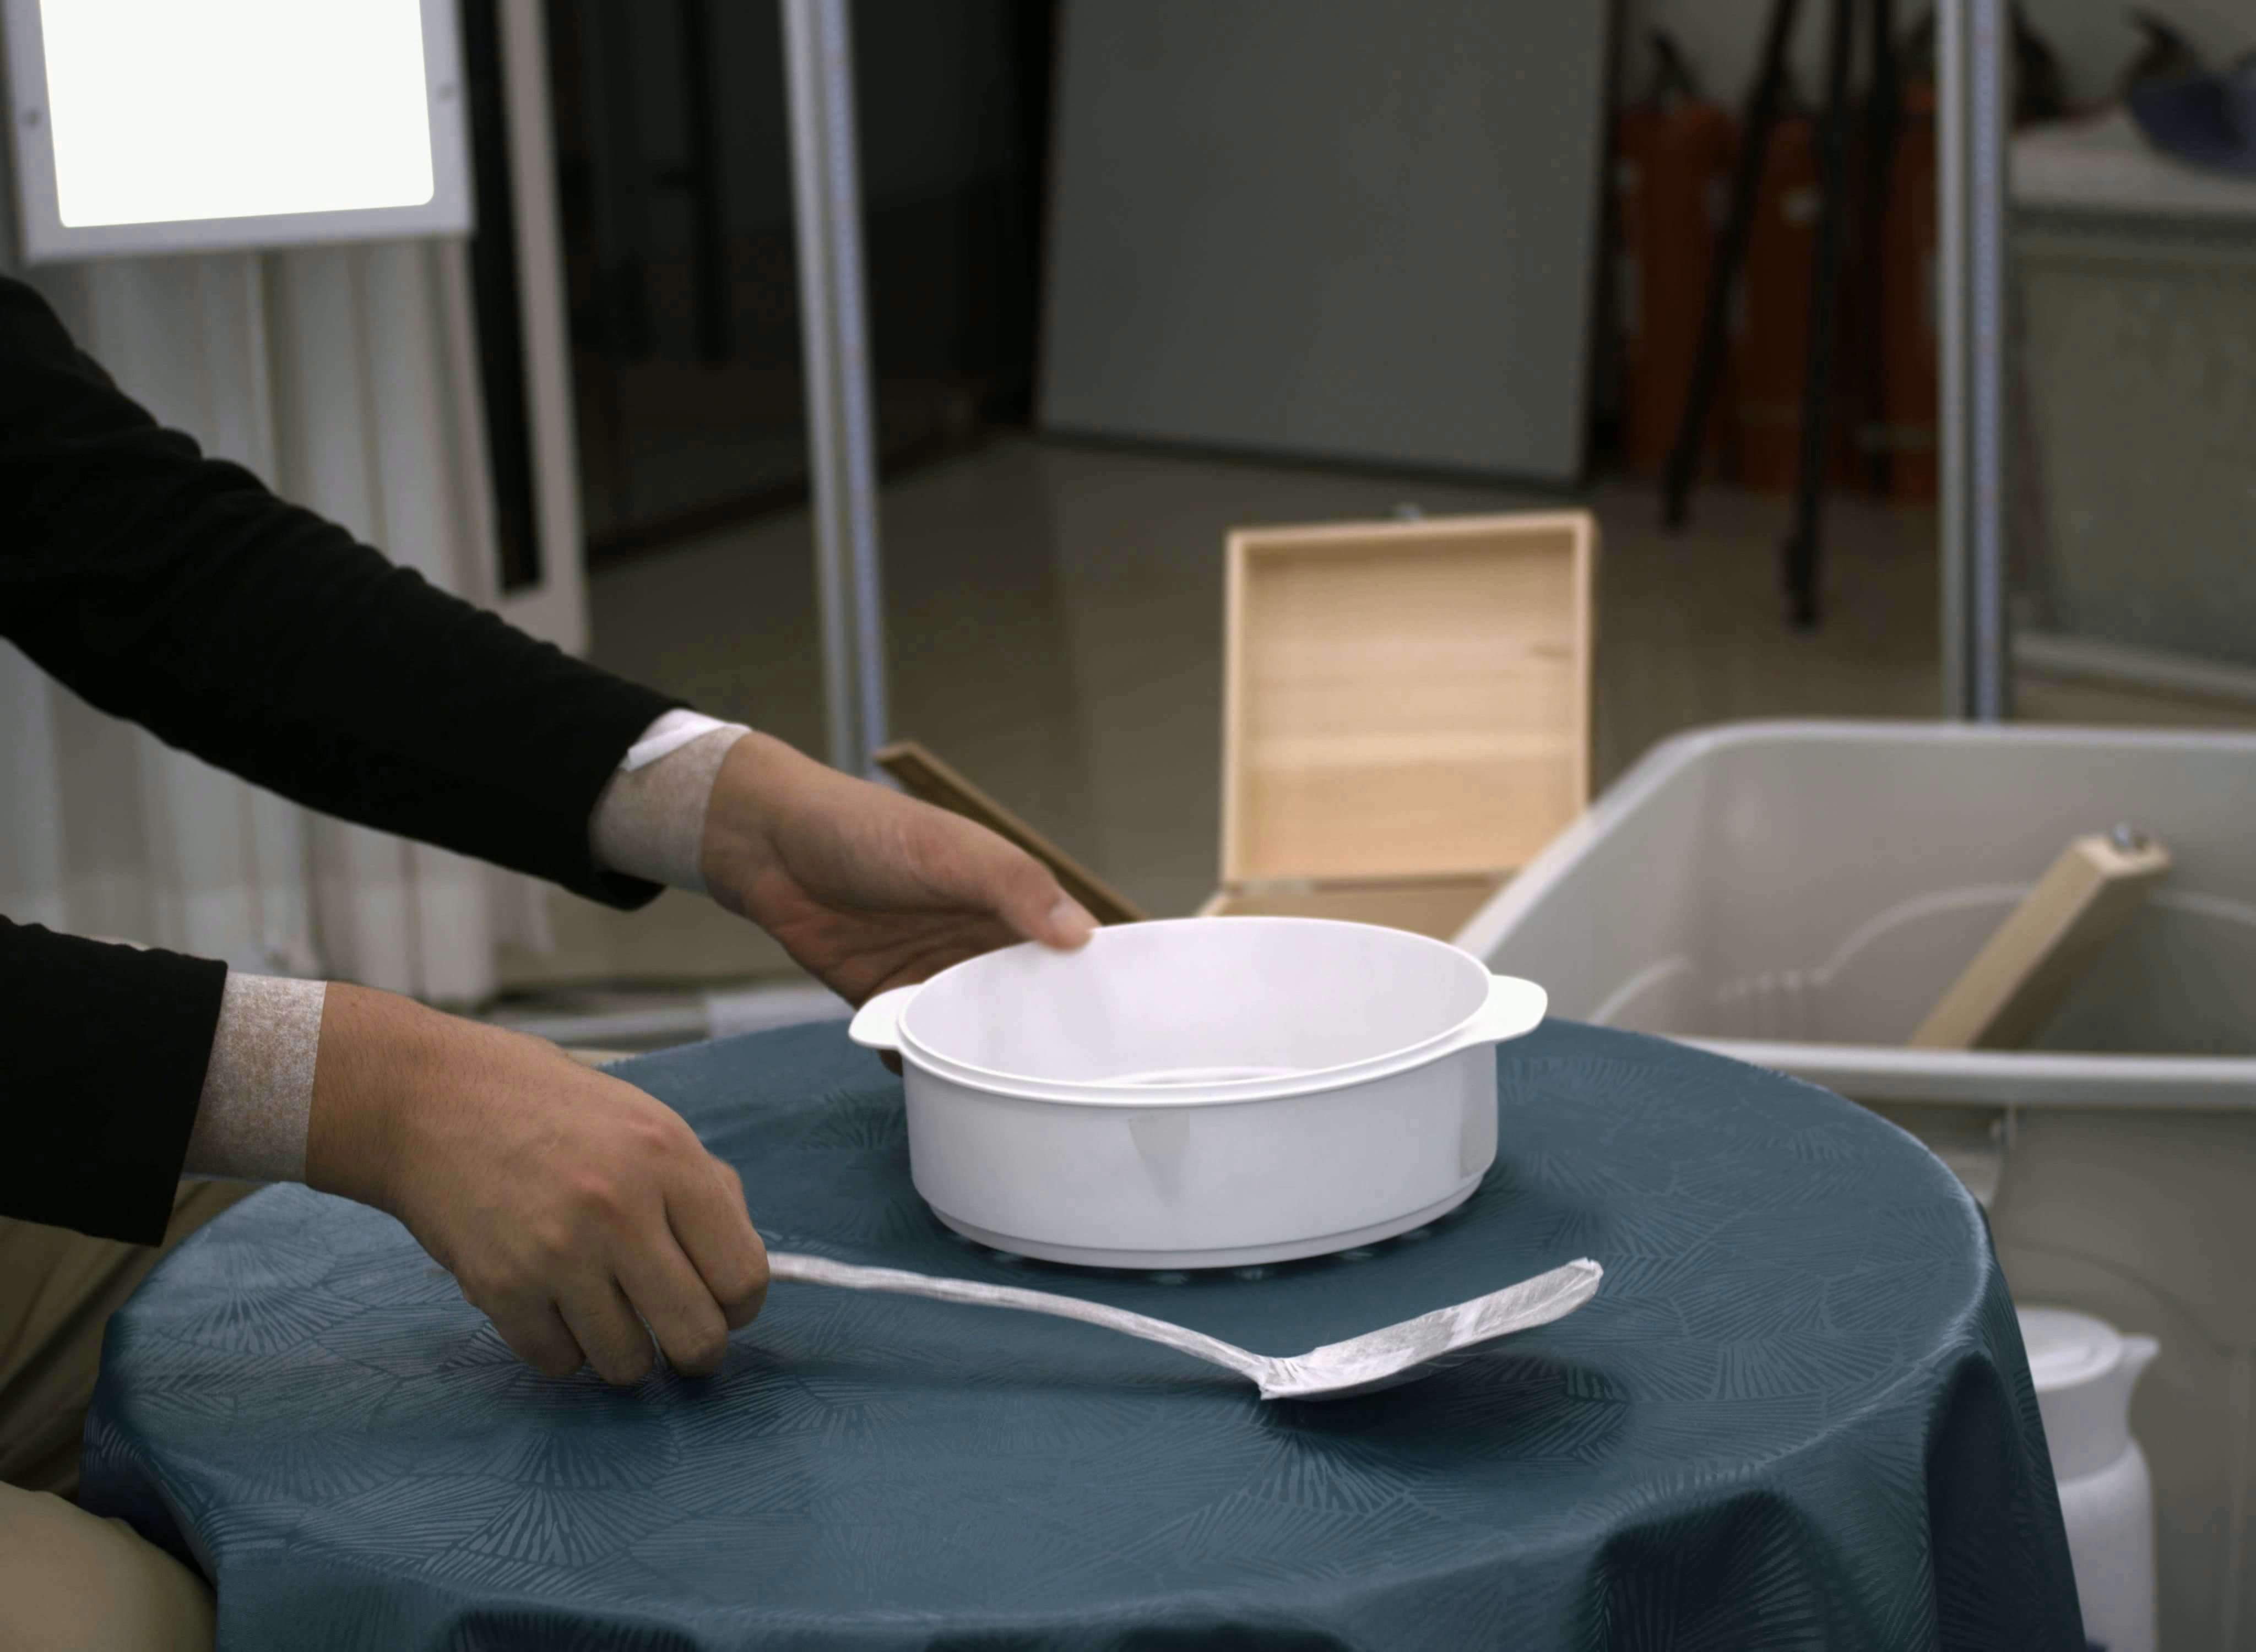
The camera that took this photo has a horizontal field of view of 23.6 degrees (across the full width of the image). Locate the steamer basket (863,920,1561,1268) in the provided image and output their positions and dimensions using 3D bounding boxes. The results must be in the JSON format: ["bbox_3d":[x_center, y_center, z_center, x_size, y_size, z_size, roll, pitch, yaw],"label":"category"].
[{"bbox_3d":[0.029,0.087,1.755,0.229,0.070,0.201,-2,13,11],"label":"steamer basket"}]

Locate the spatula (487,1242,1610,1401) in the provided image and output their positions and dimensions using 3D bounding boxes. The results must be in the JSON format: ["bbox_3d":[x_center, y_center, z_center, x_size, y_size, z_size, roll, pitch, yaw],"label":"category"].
[{"bbox_3d":[-0.035,0.138,1.608,0.364,0.045,0.097,4,12,21],"label":"spatula"}]
